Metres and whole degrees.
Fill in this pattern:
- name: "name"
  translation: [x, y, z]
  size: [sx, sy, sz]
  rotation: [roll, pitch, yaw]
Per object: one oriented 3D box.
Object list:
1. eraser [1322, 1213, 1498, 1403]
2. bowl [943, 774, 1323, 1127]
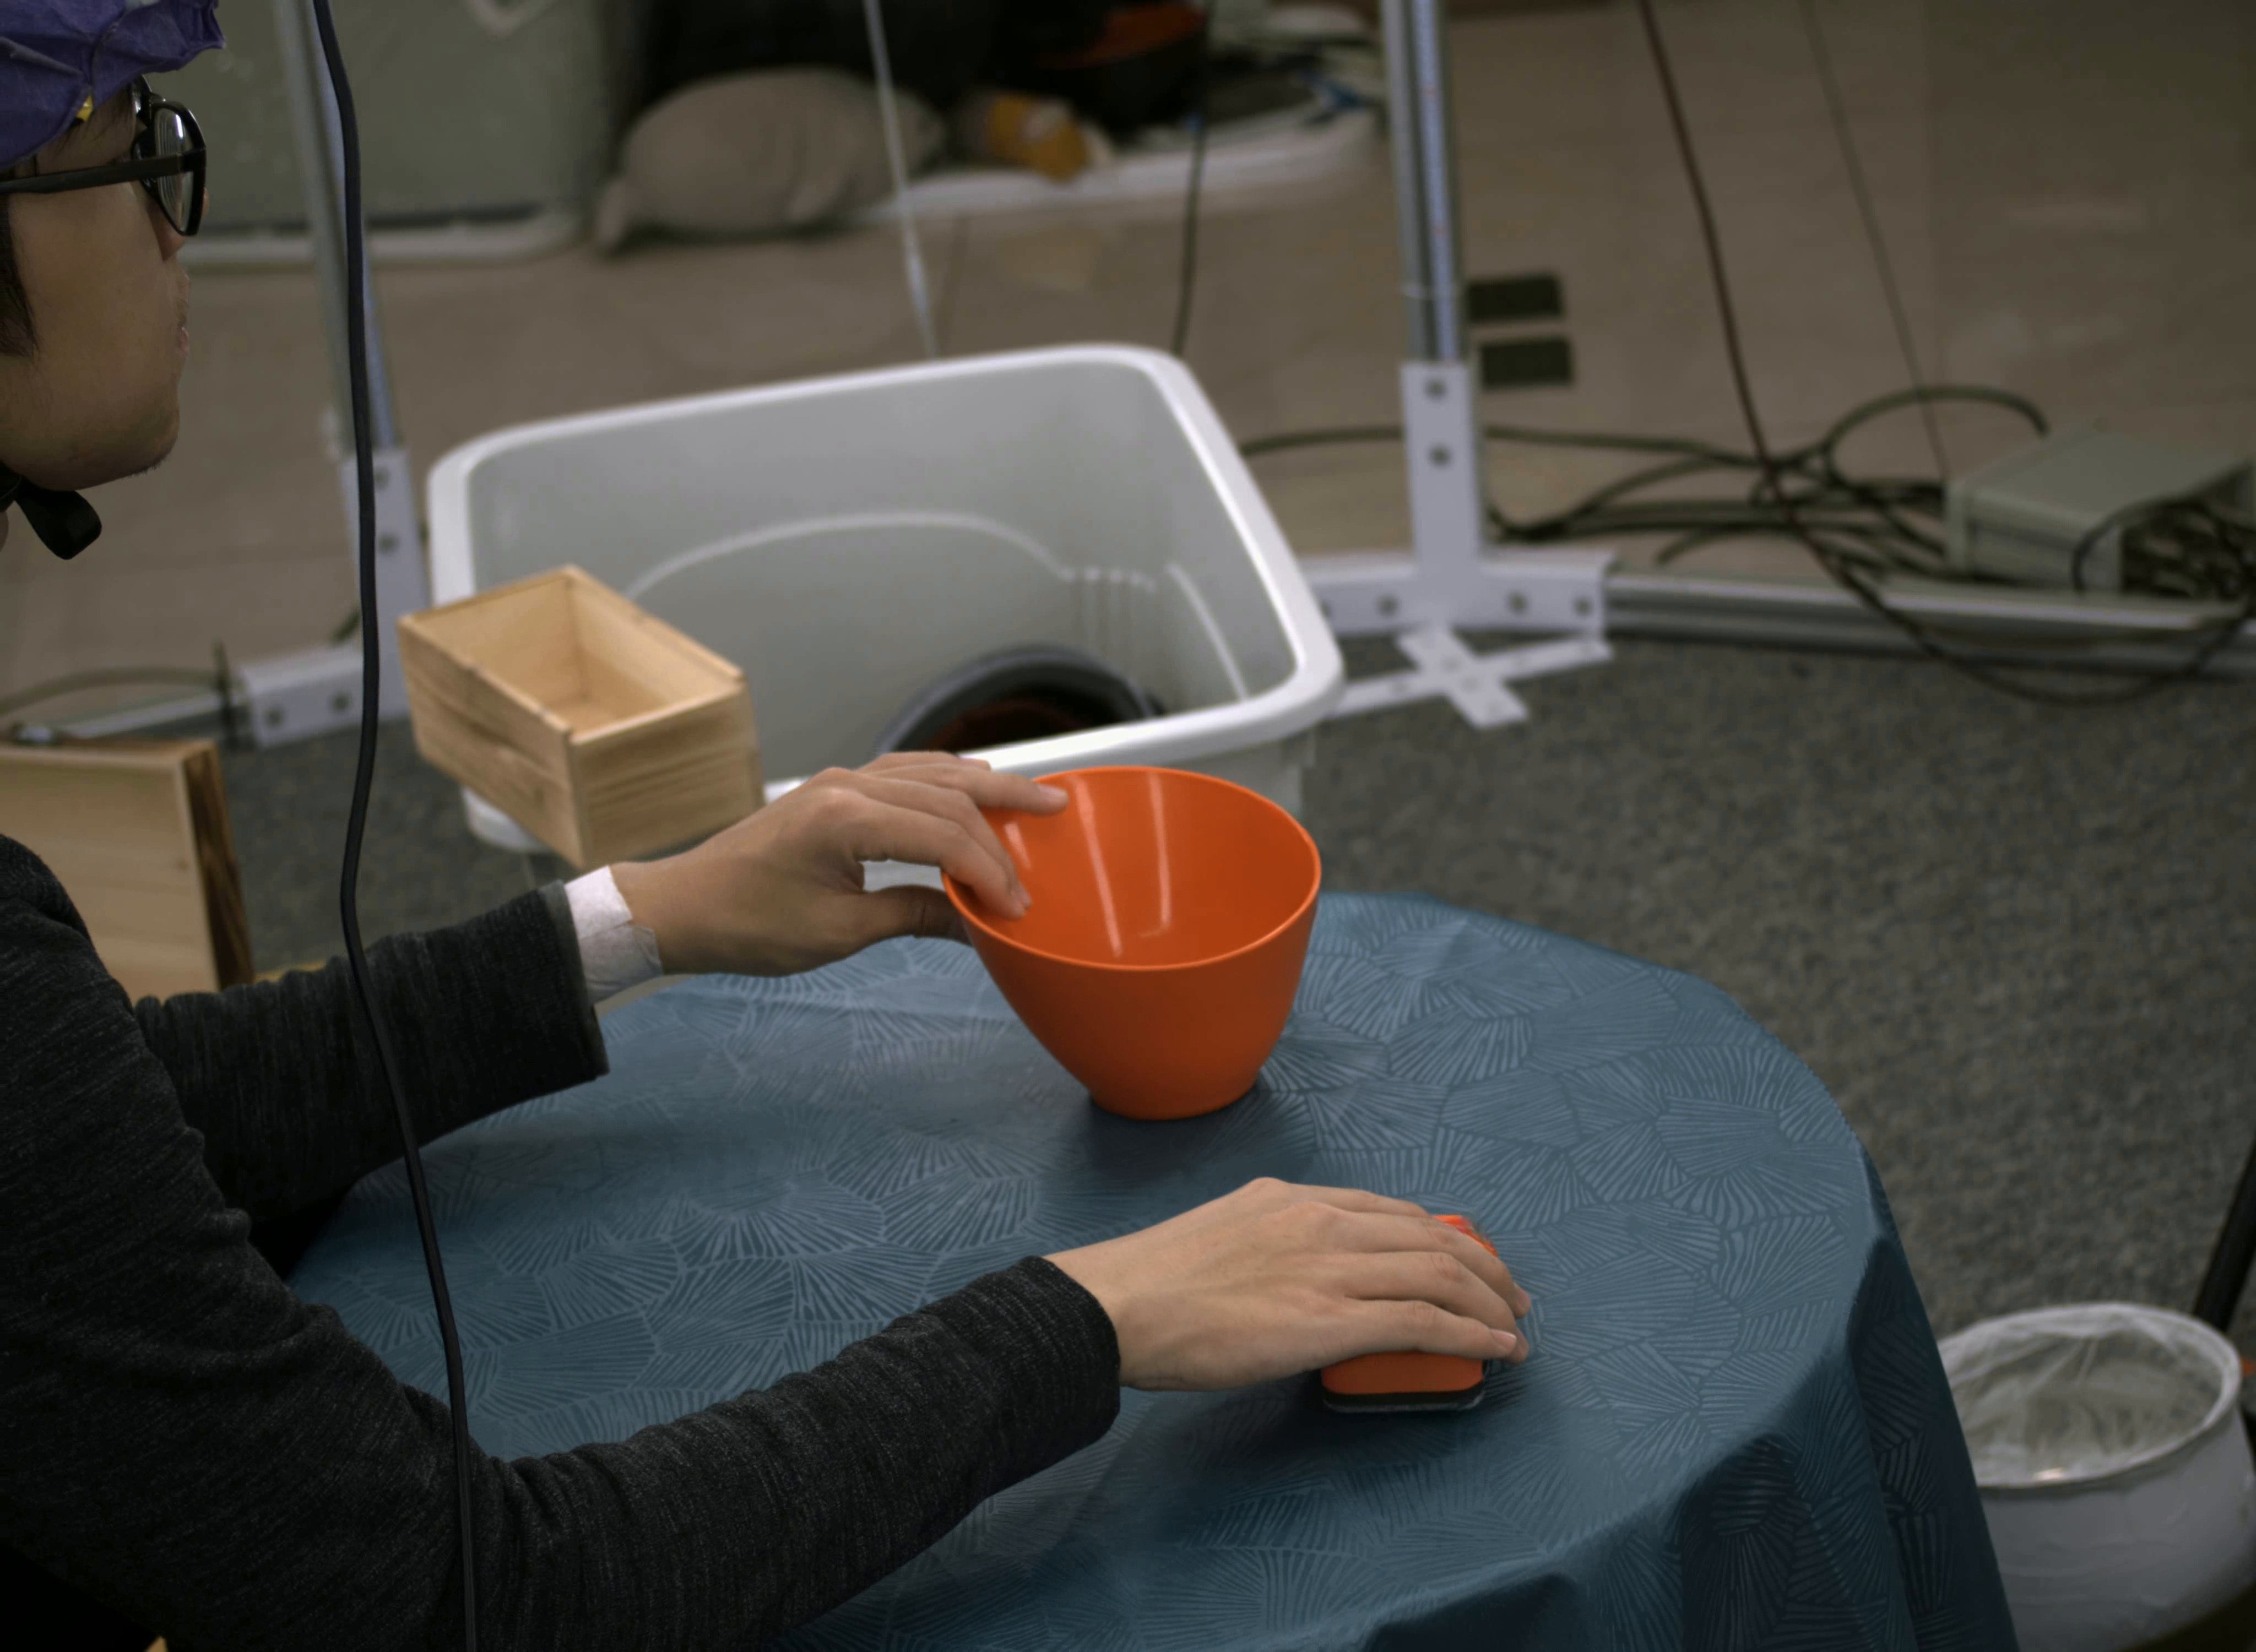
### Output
- name: "eraser"
  translation: [0.101, 0.170, 2.016]
  size: [0.059, 0.023, 0.106]
  rotation: [-1, 22, 7]
- name: "bowl"
  translation: [0.007, 0.054, 2.211]
  size: [0.148, 0.106, 0.146]
  rotation: [-6, 25, 3]
